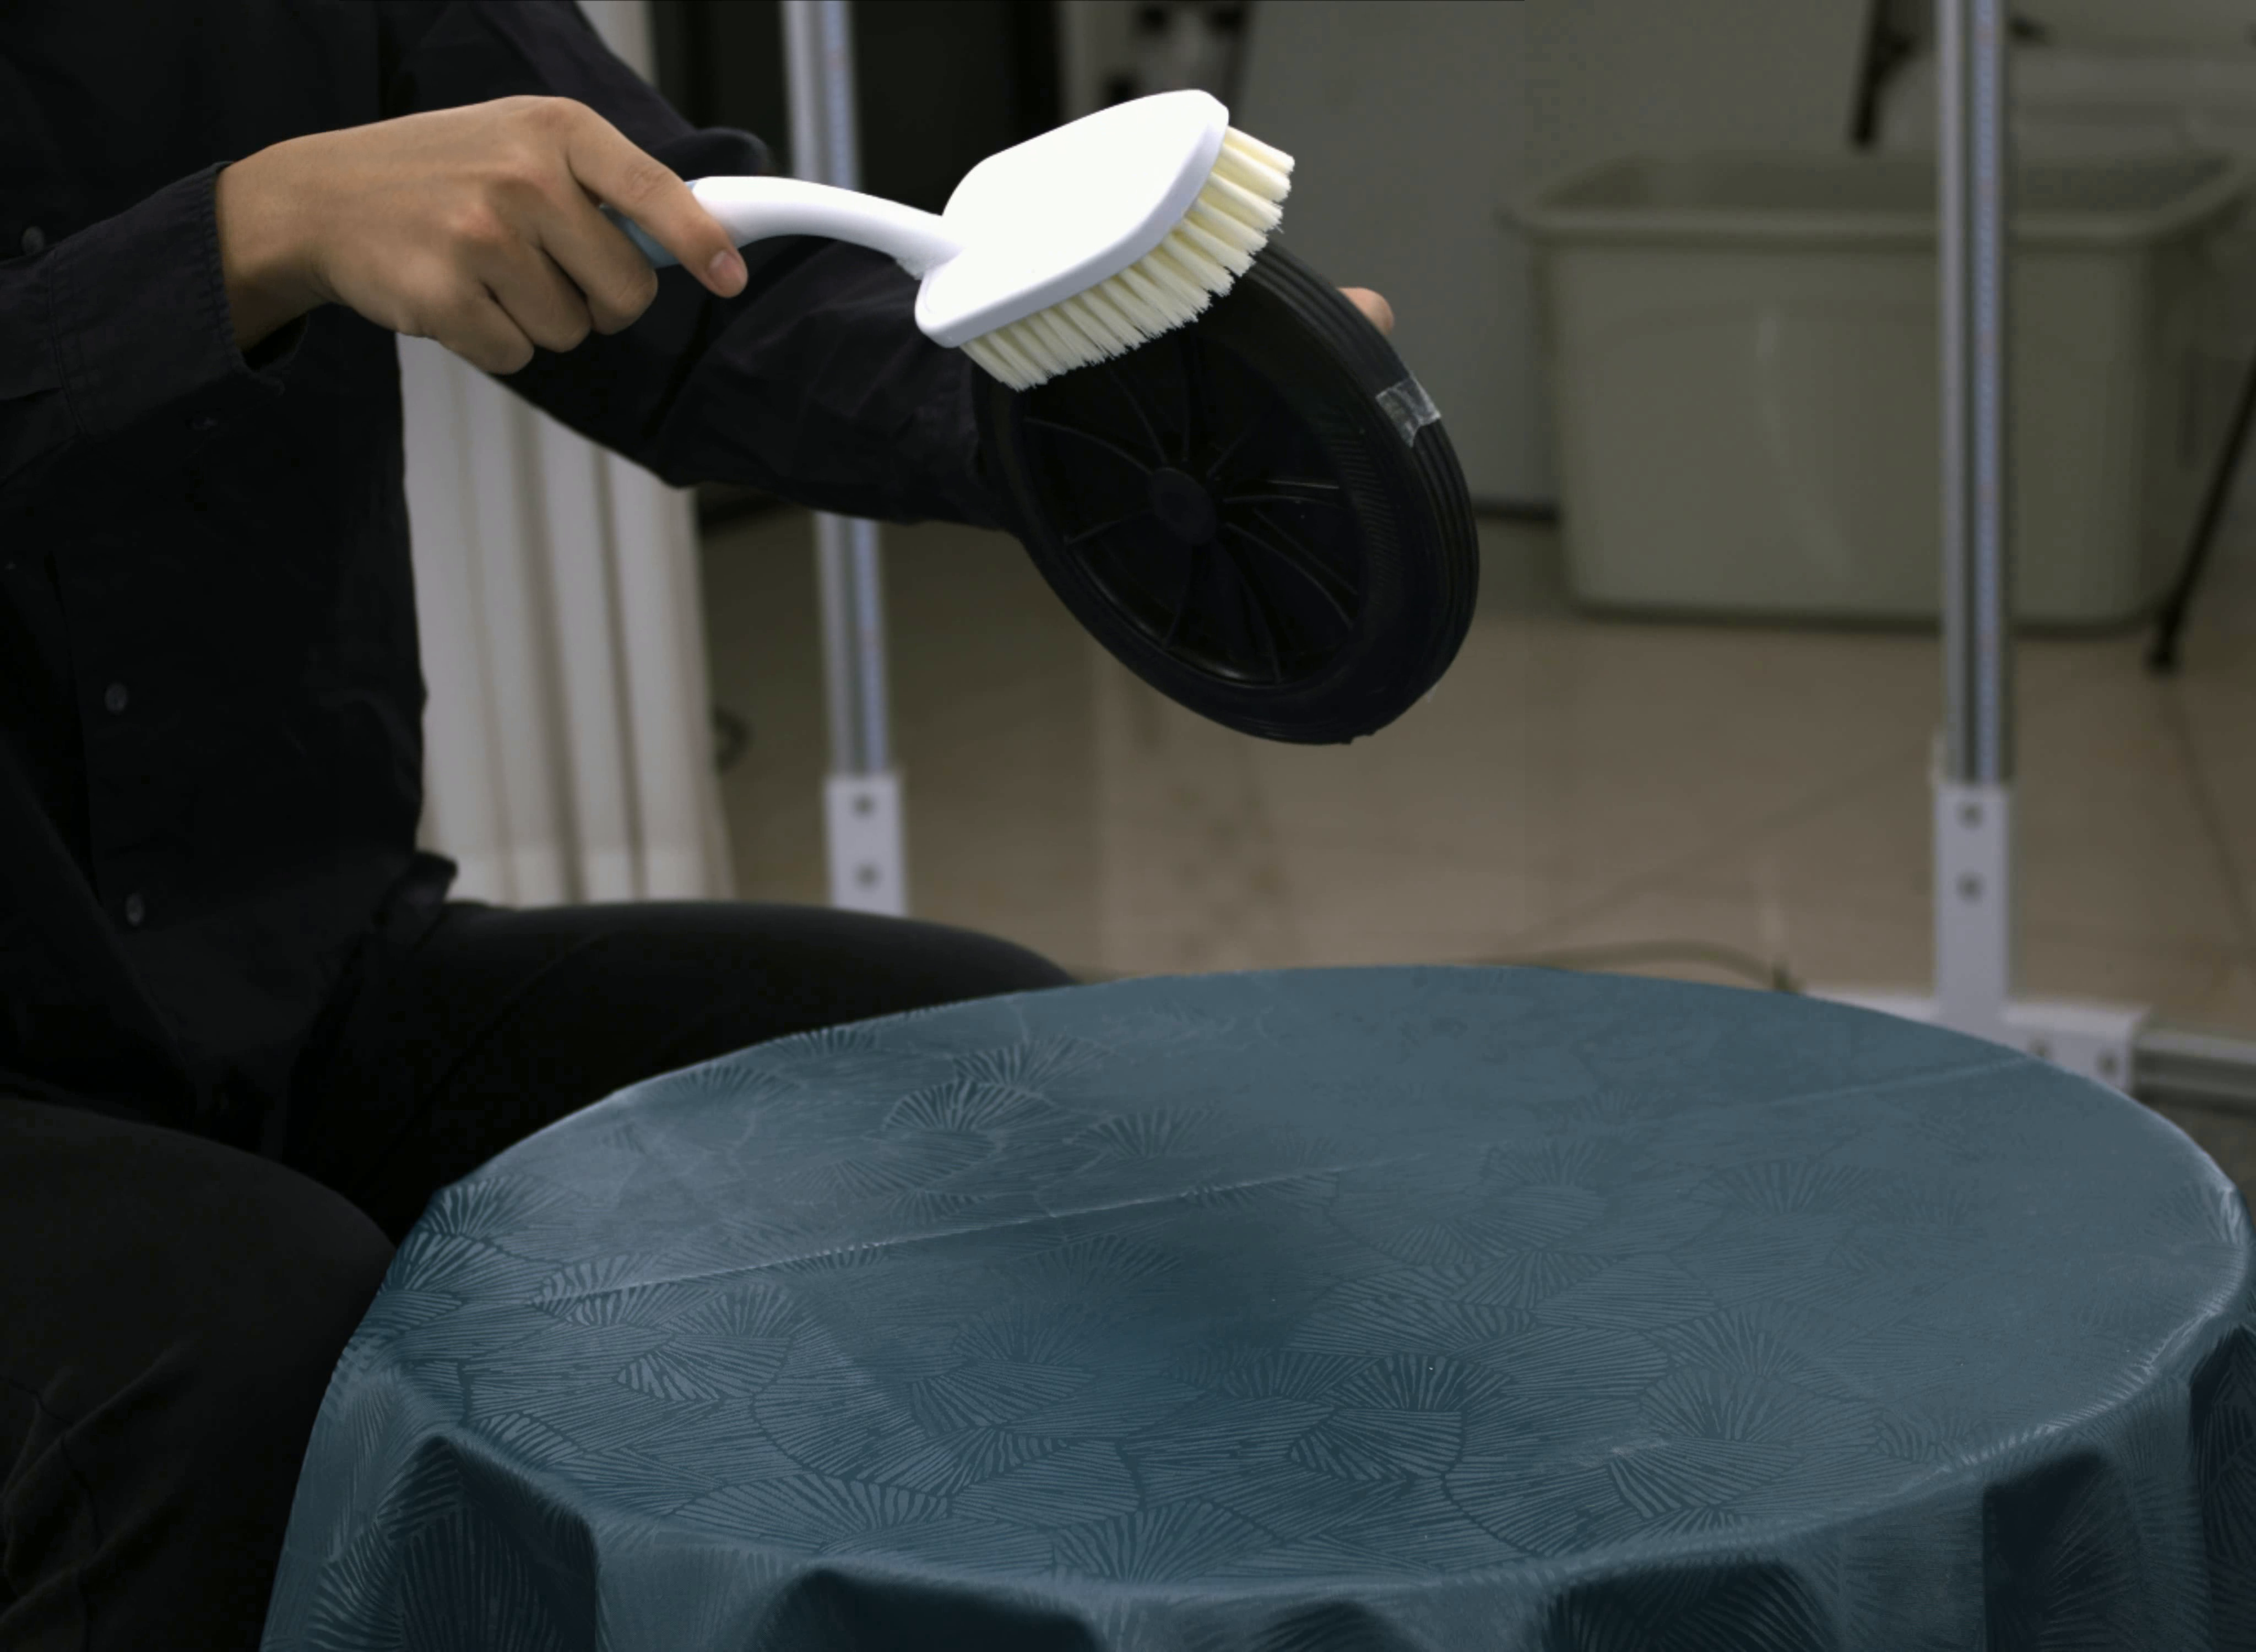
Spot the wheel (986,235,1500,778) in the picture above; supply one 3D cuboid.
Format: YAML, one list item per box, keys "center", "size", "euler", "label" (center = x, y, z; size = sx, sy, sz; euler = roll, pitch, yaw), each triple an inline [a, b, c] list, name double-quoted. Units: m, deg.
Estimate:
- center: [0.047, -0.111, 1.700]
  size: [0.191, 0.188, 0.078]
  euler: [19, 45, 35]
  label: "wheel"

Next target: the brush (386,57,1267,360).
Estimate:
- center: [-0.089, -0.178, 1.662]
  size: [0.327, 0.085, 0.082]
  euler: [-7, 18, 36]
  label: "brush"
